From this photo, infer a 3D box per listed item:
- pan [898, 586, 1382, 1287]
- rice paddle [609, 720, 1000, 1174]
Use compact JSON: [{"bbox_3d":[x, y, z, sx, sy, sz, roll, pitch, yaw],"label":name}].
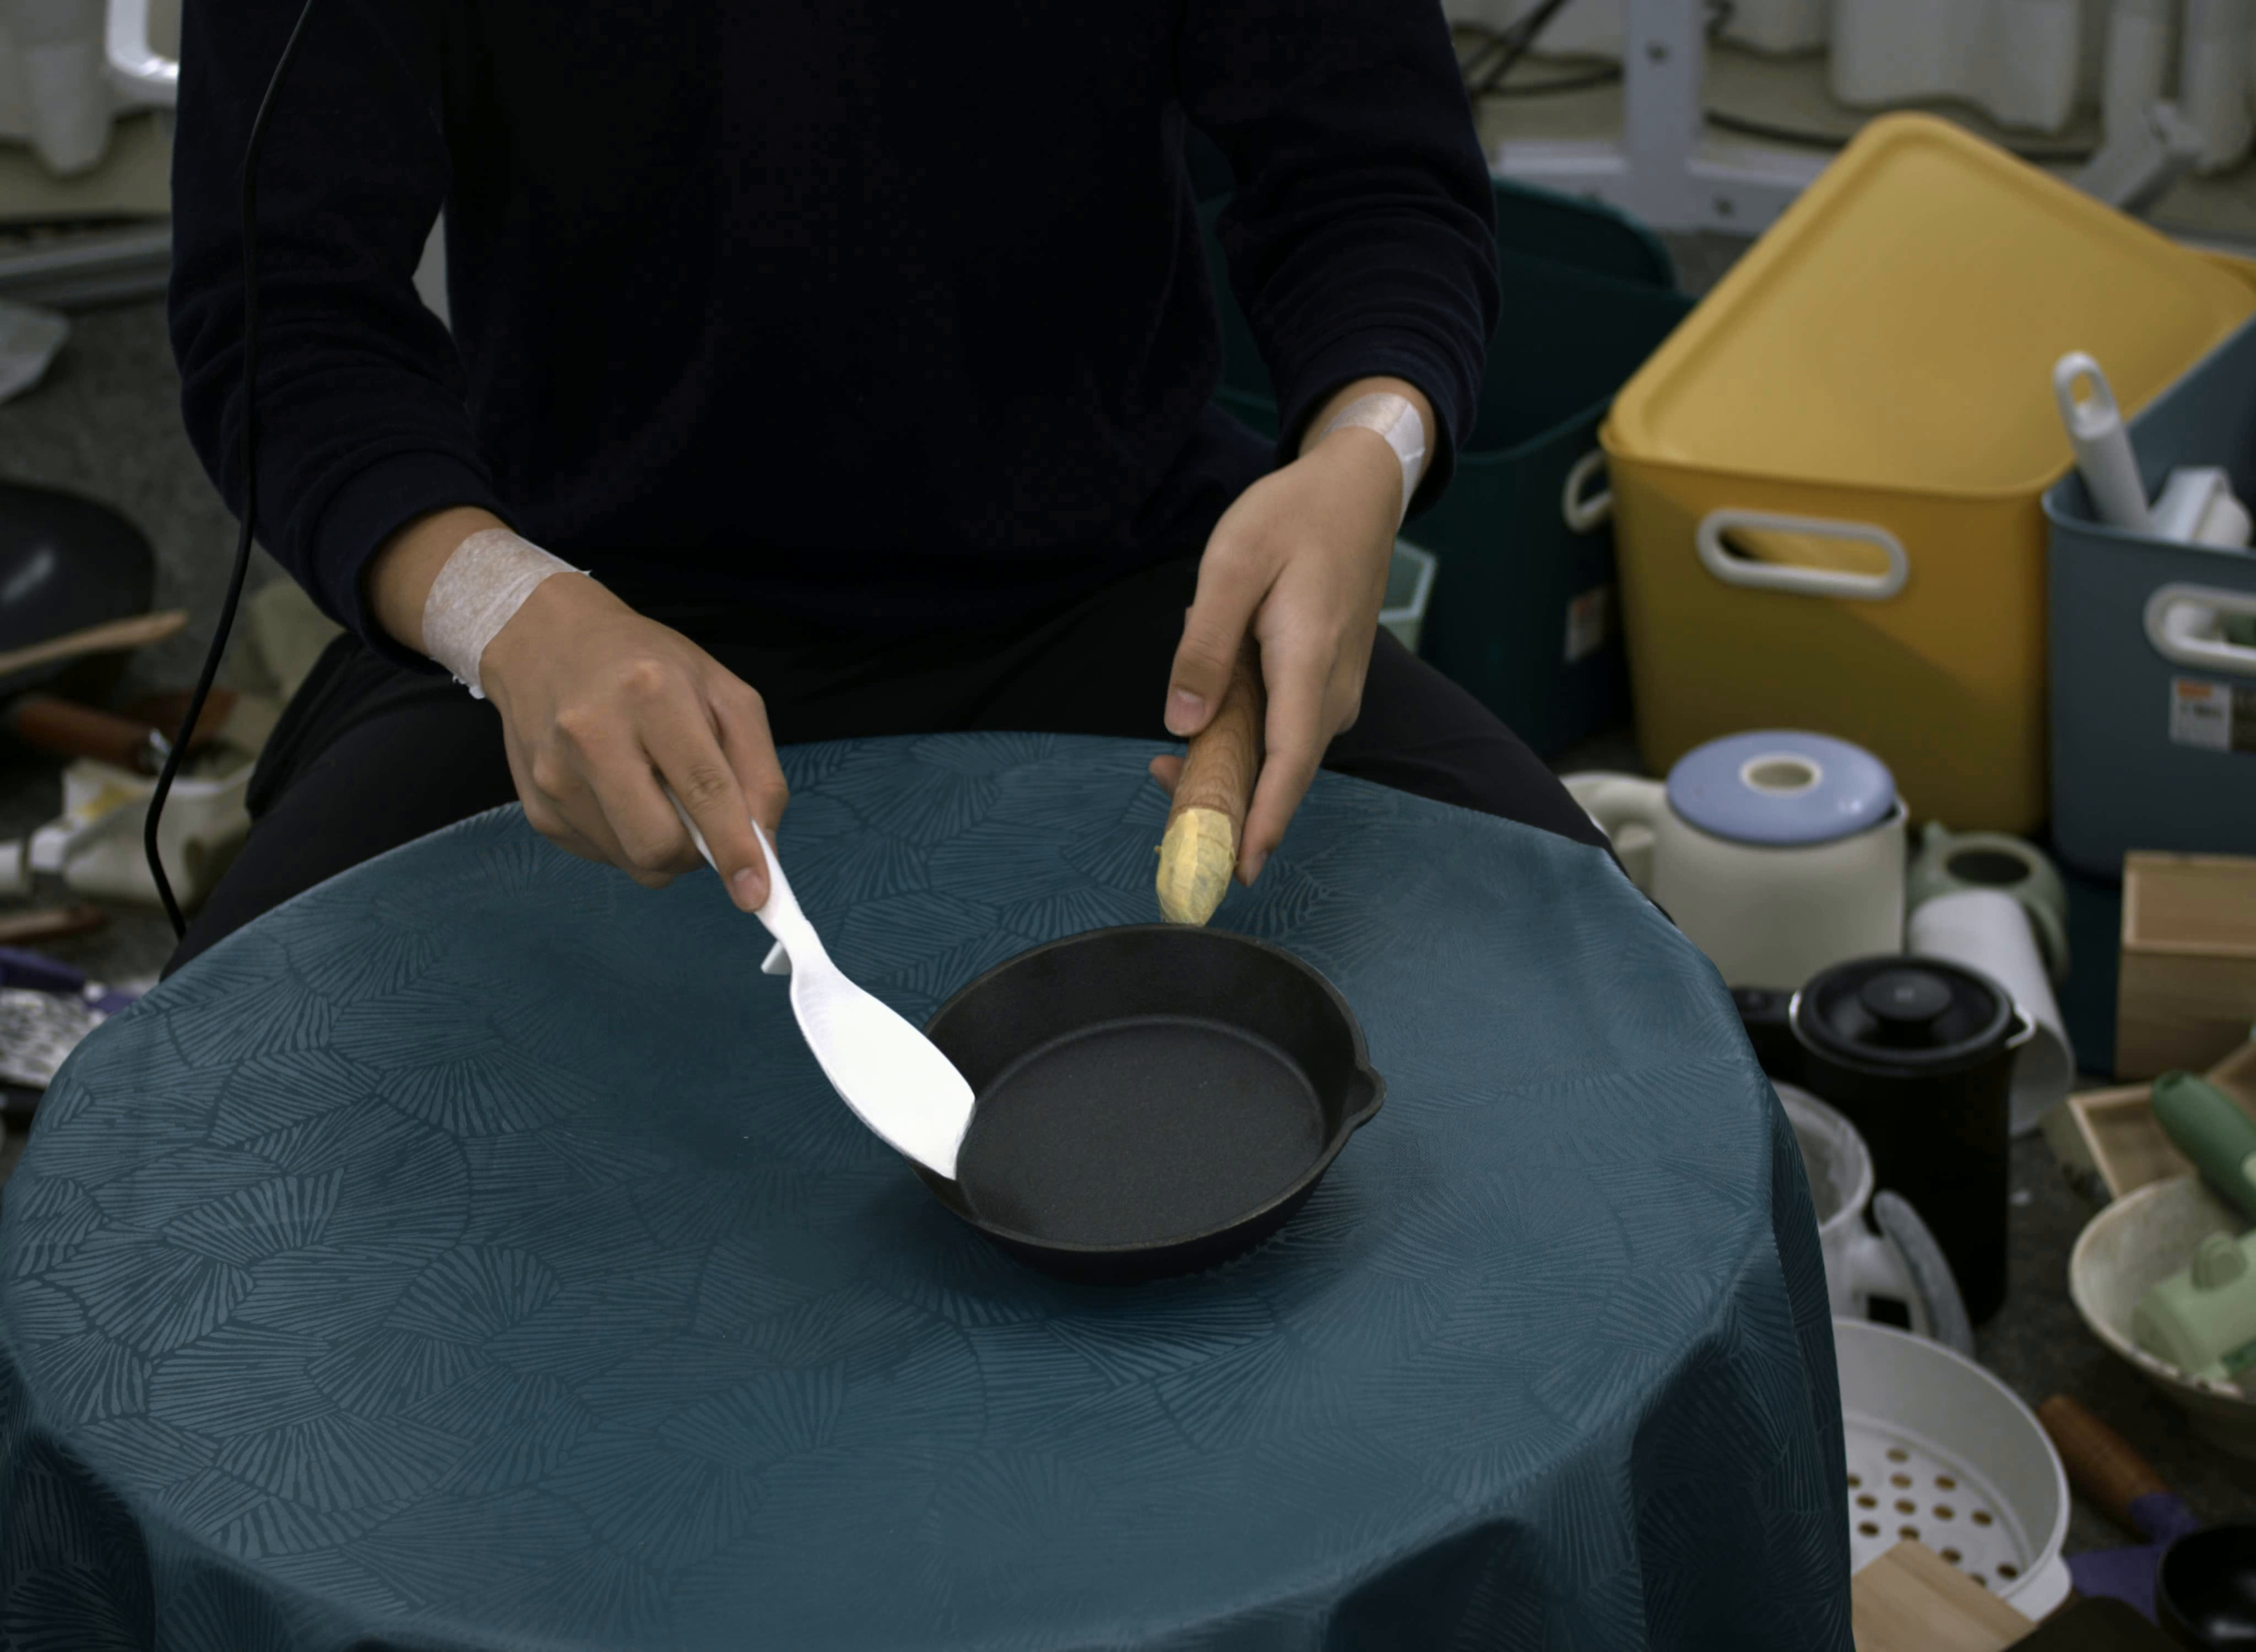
[{"bbox_3d":[0.020,0.036,1.910,0.168,0.049,0.331,3,41,14],"label":"pan"},{"bbox_3d":[-0.106,0.042,1.845,0.069,0.029,0.207,8,35,-50],"label":"rice paddle"}]
